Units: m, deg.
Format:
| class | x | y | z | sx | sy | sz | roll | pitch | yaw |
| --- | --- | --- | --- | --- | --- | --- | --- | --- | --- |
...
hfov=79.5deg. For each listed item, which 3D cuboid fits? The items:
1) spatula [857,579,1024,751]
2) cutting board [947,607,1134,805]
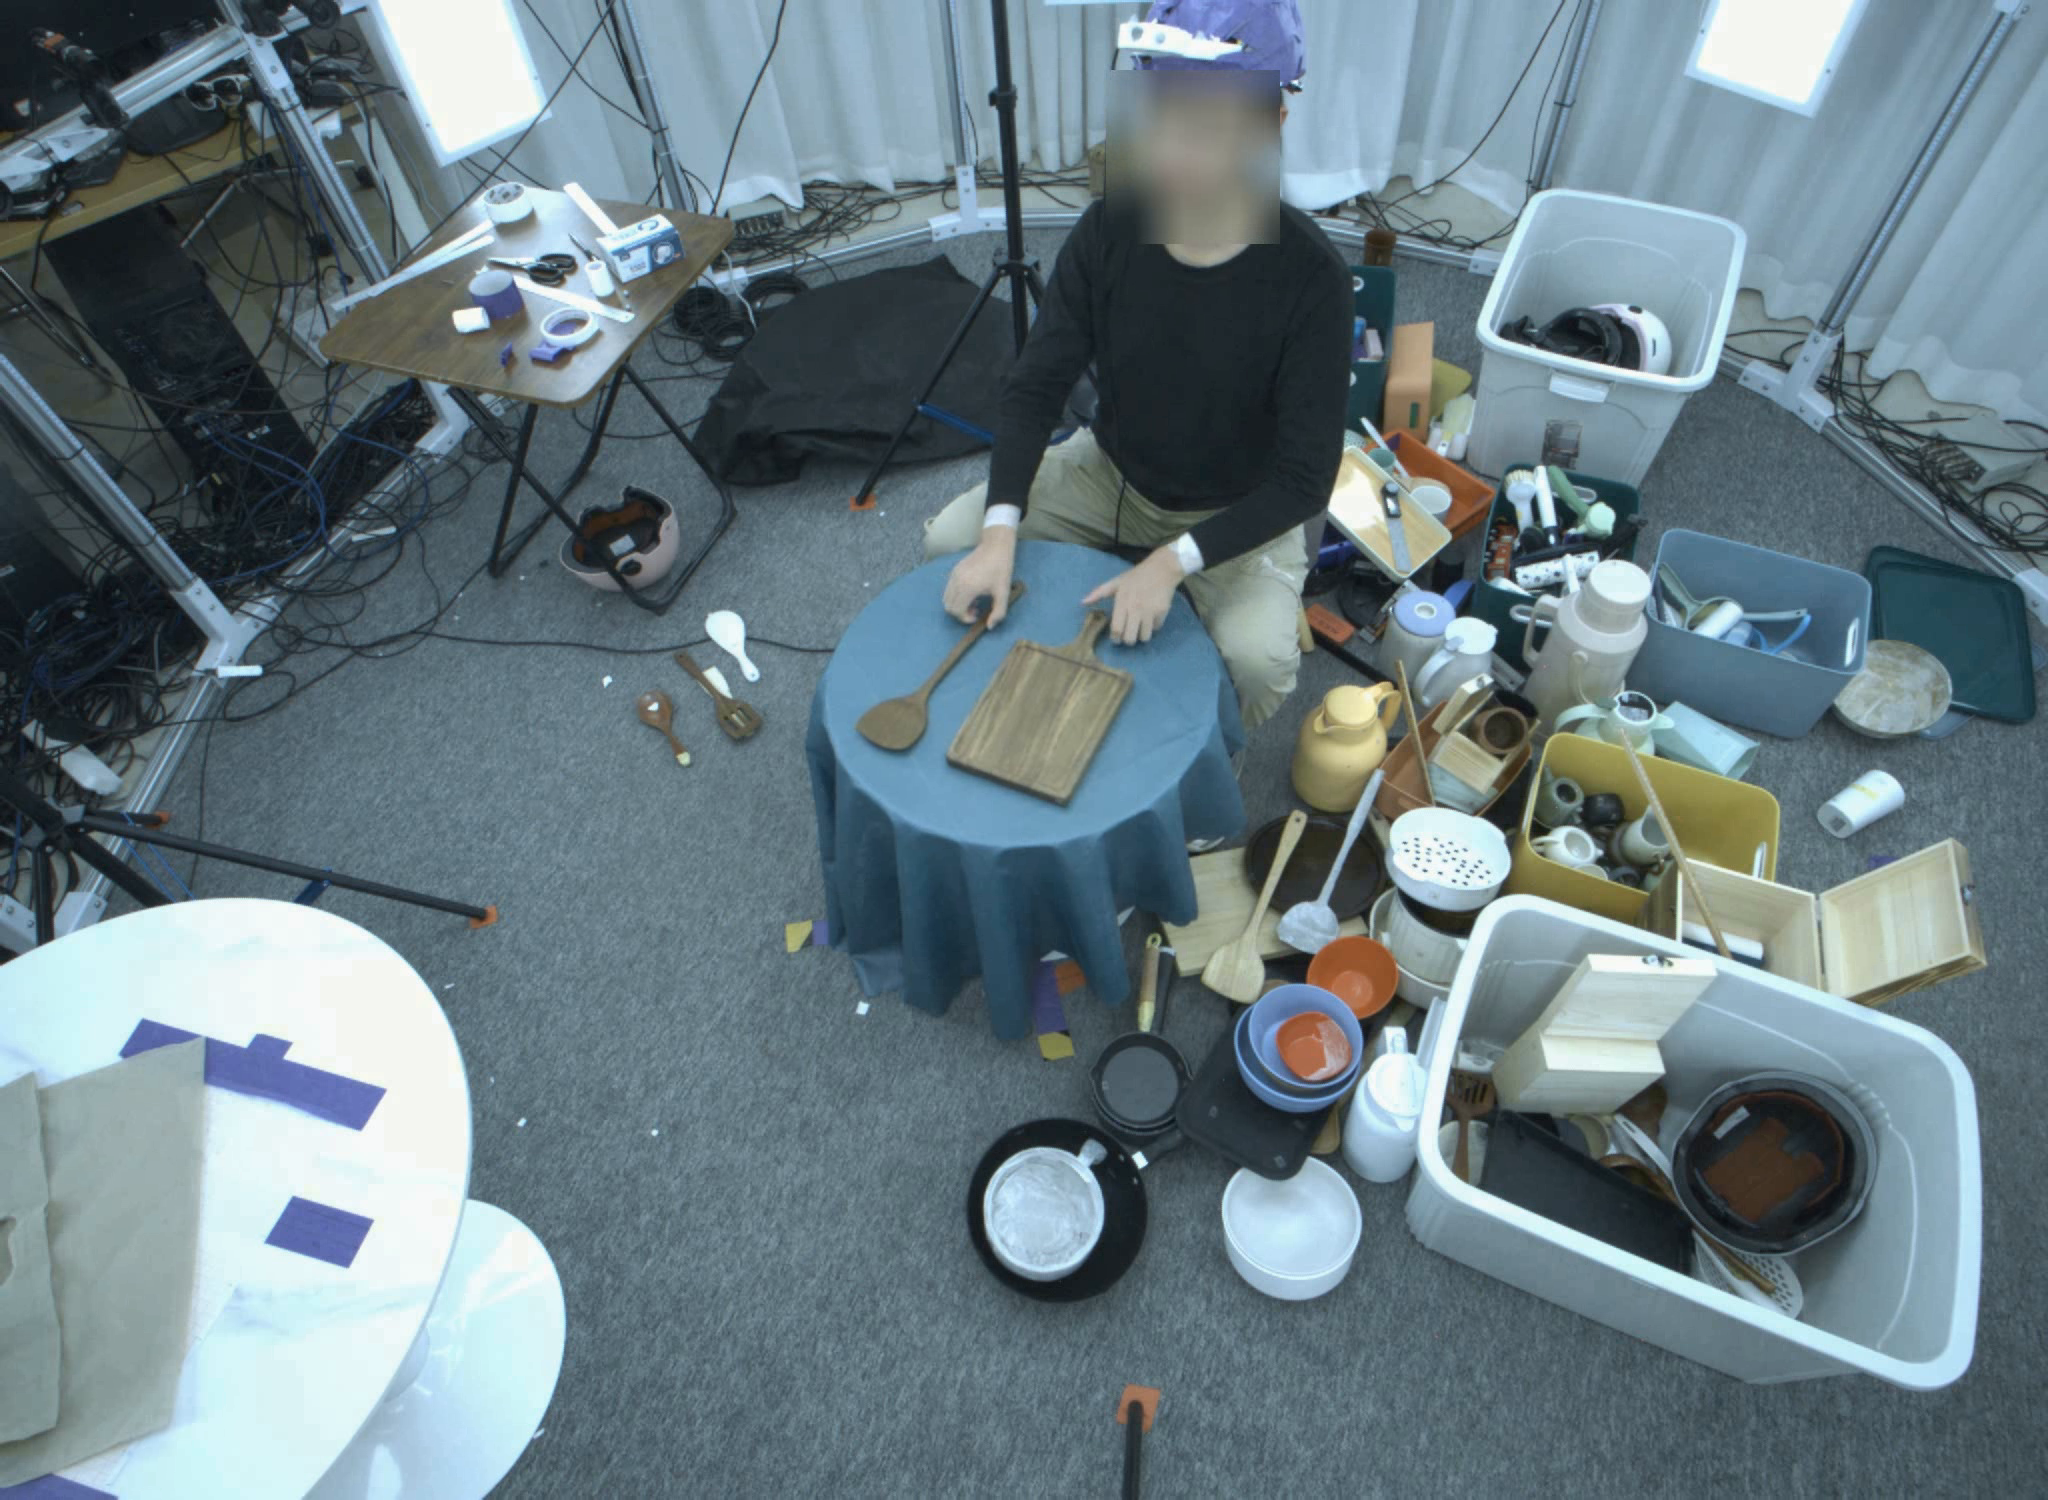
| class | x | y | z | sx | sy | sz | roll | pitch | yaw |
| --- | --- | --- | --- | --- | --- | --- | --- | --- | --- |
| spatula | -0.112 | -0.142 | 1.883 | 0.095 | 0.016 | 0.387 | 27 | 60 | 19 |
| cutting board | 0.047 | -0.085 | 1.834 | 0.199 | 0.023 | 0.352 | 20 | 58 | 15 |
